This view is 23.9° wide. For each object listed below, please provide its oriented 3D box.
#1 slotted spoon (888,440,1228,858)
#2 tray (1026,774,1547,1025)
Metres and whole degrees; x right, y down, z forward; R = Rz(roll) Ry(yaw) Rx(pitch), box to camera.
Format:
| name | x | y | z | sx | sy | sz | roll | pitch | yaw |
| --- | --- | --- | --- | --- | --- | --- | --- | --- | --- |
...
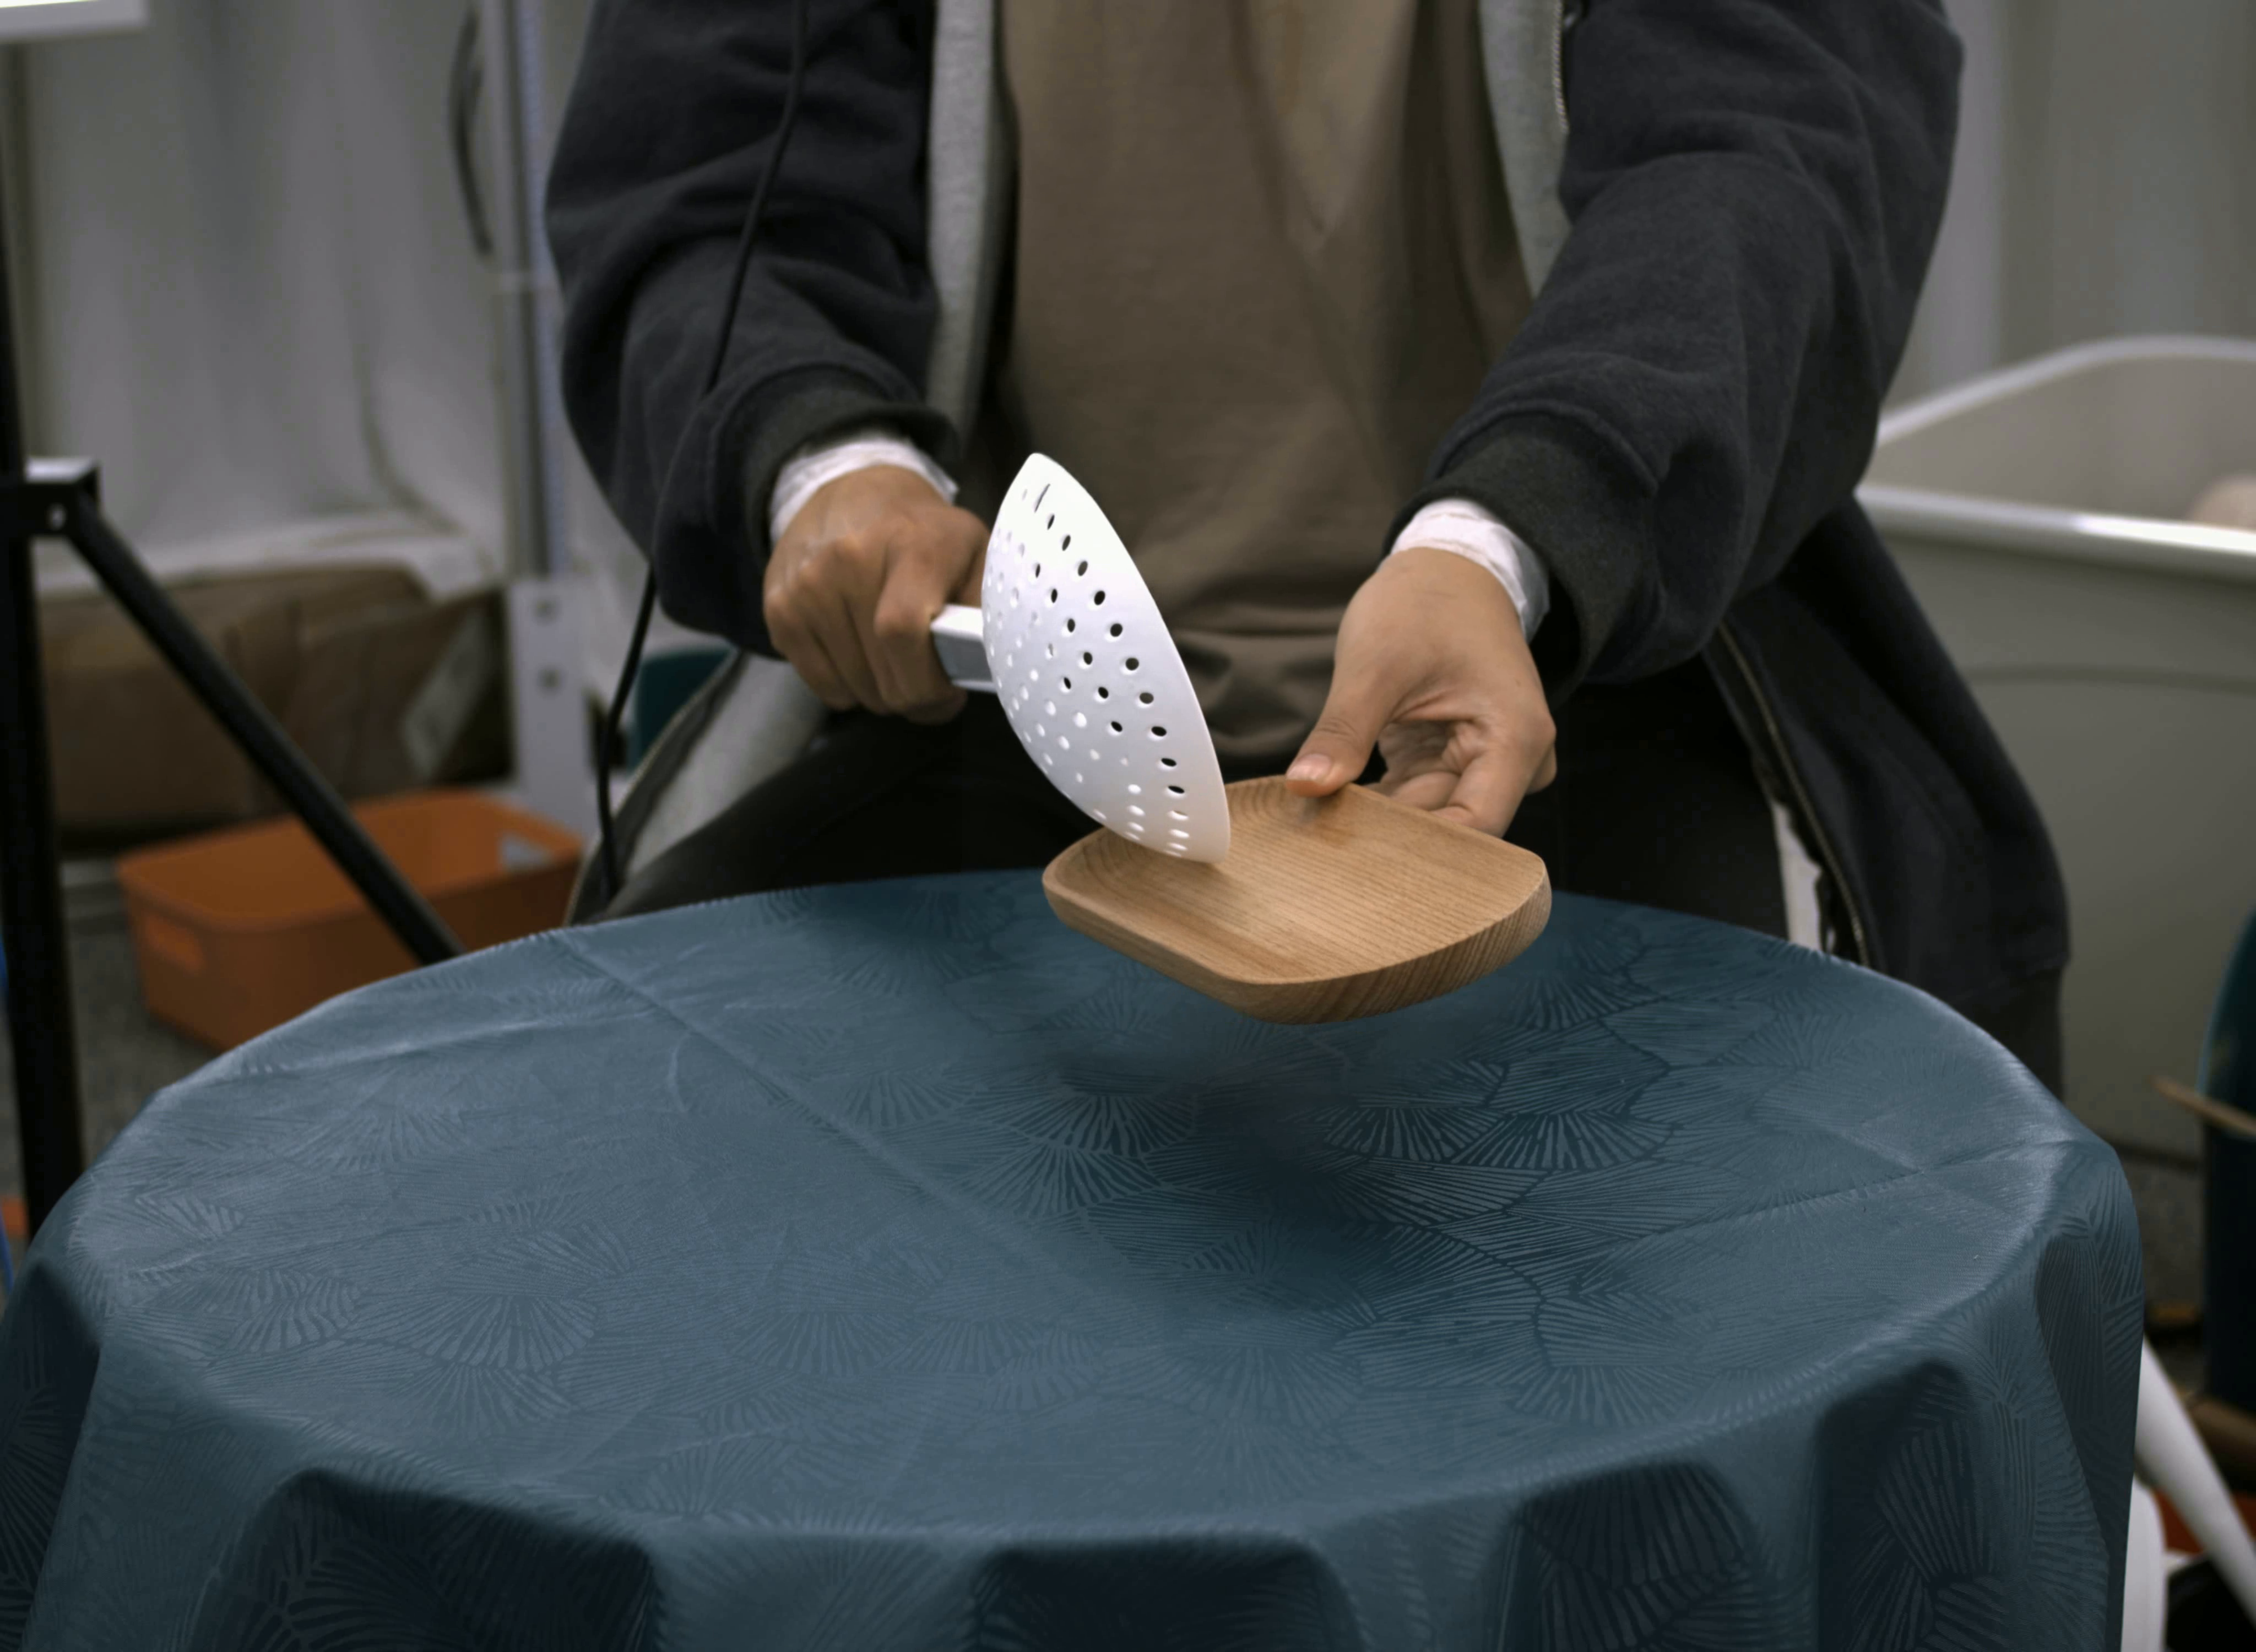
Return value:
| name | x | y | z | sx | sy | sz | roll | pitch | yaw |
| --- | --- | --- | --- | --- | --- | --- | --- | --- | --- |
| slotted spoon | -0.033 | -0.057 | 1.720 | 0.045 | 0.136 | 0.352 | -22 | 8 | -7 |
| tray | 0.045 | 0.021 | 1.572 | 0.100 | 0.020 | 0.235 | -21 | 16 | -18 |
